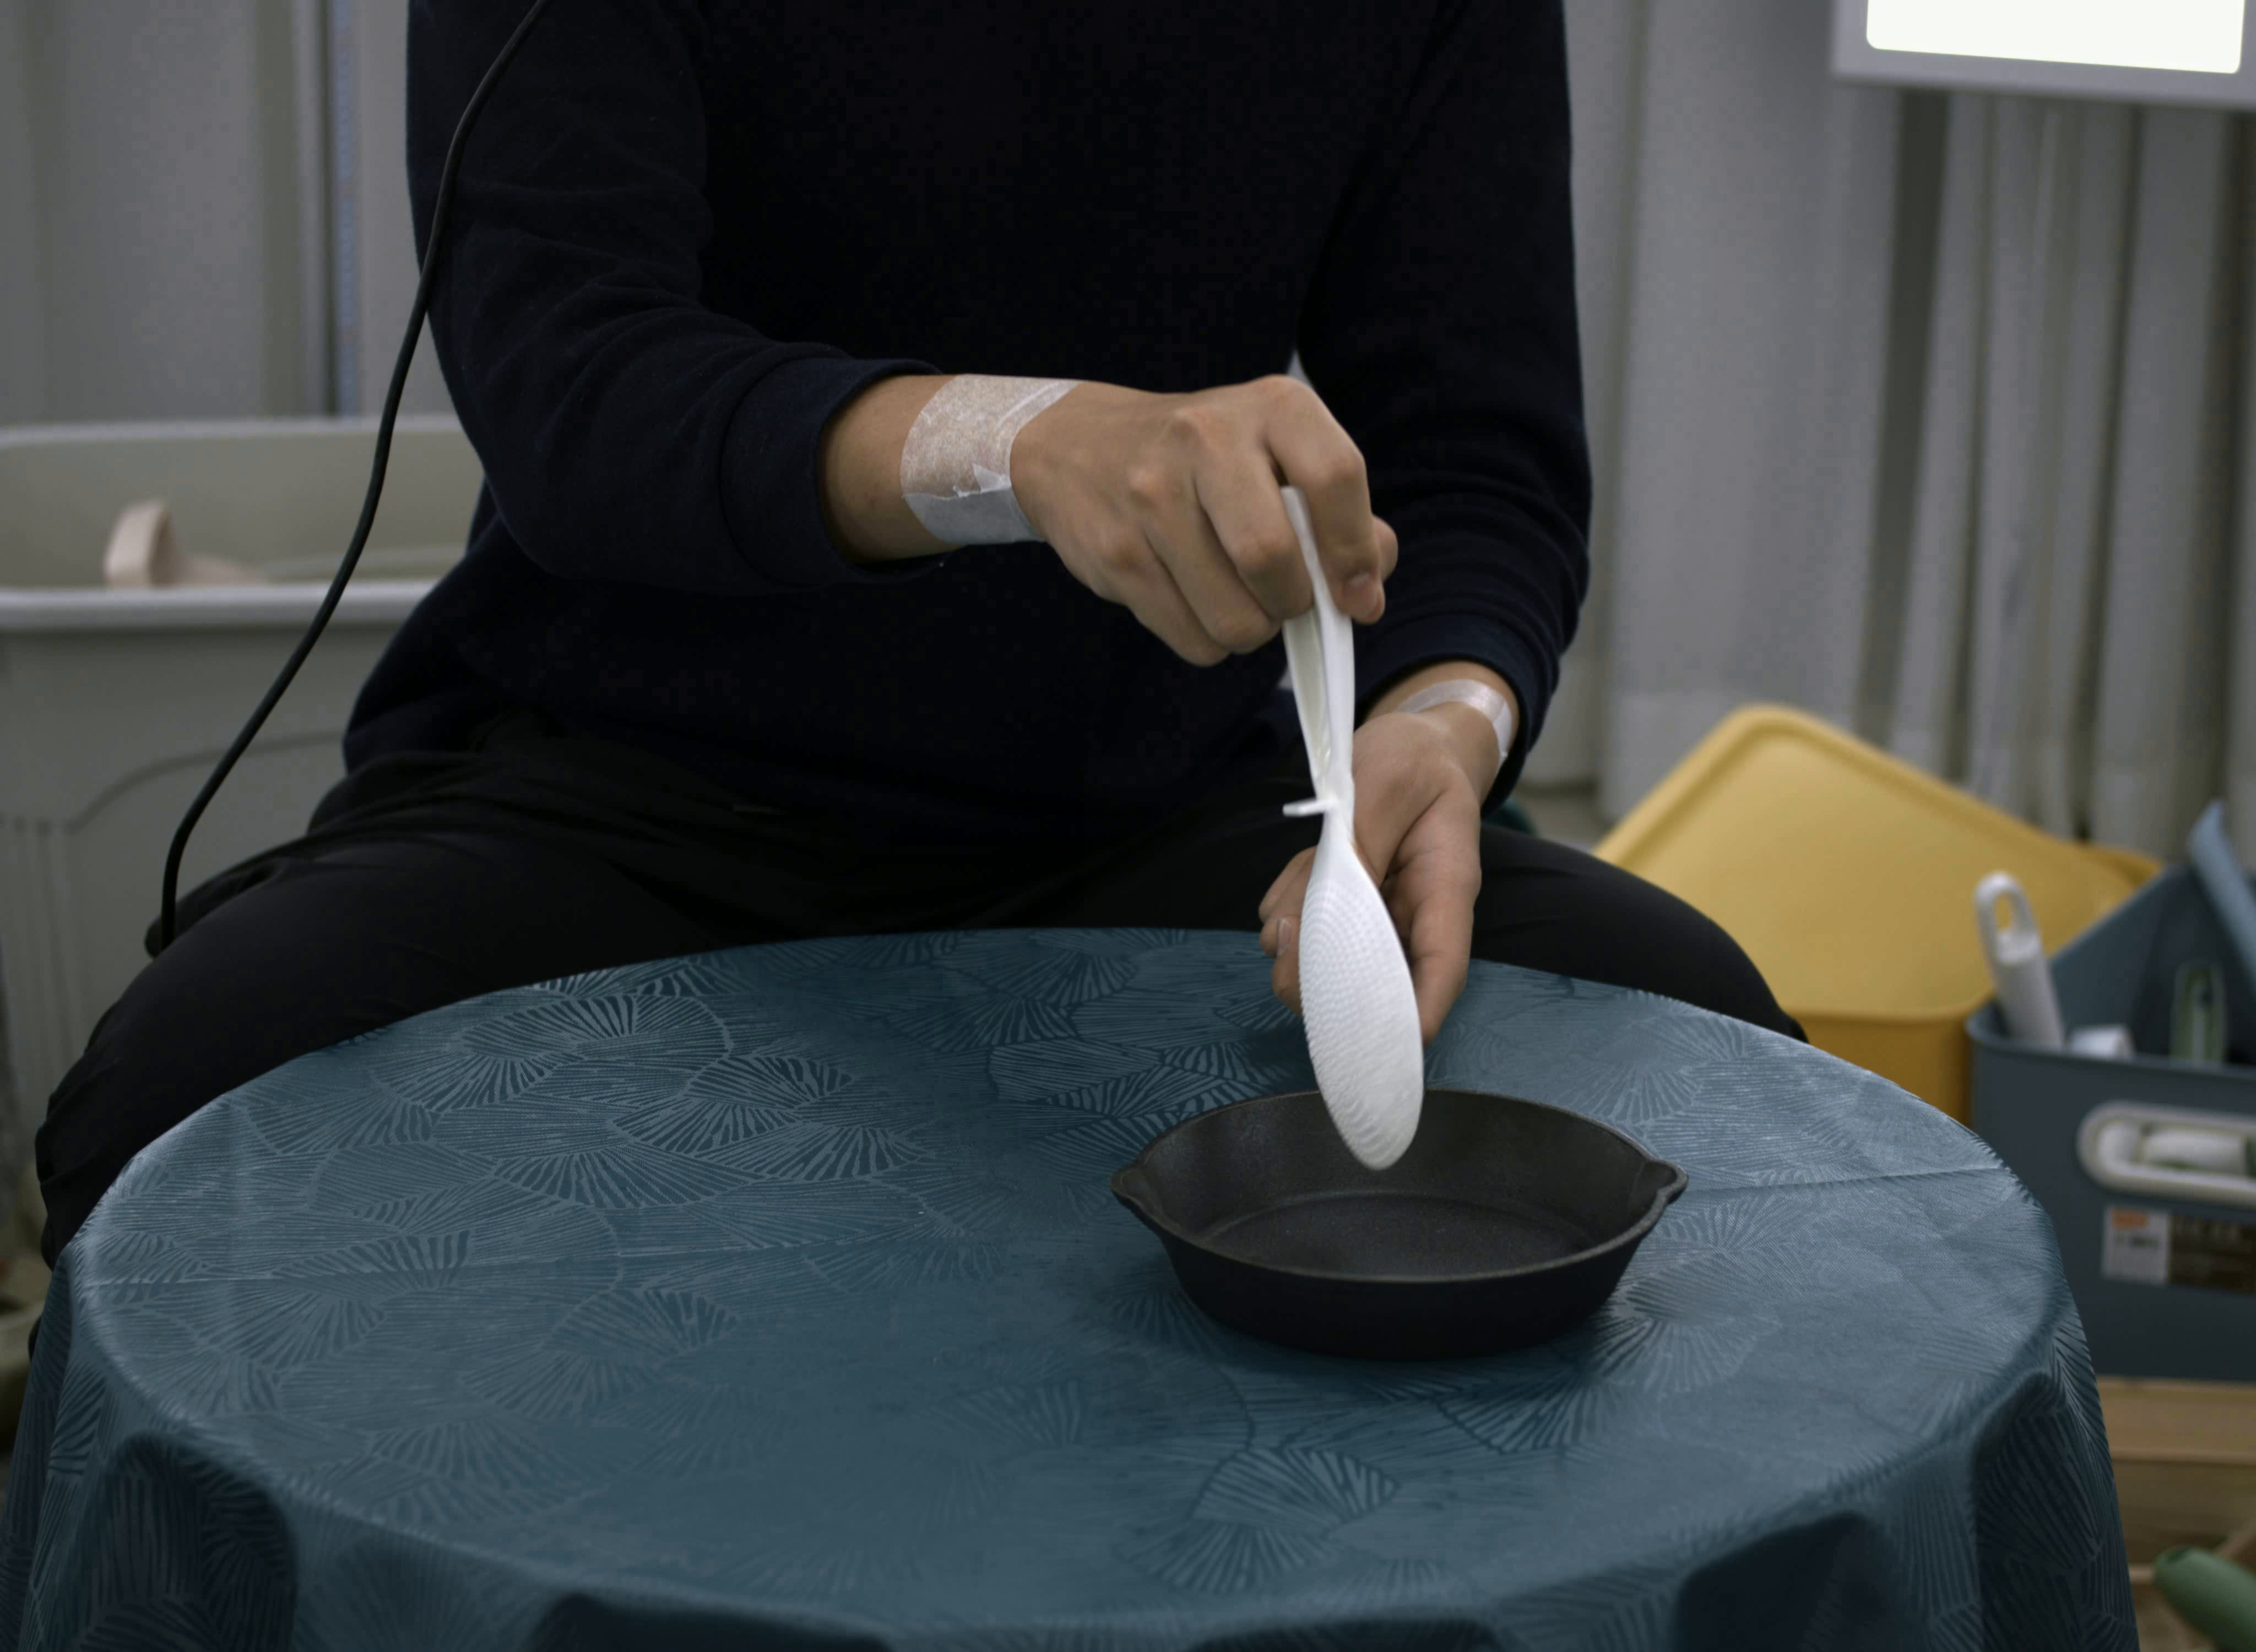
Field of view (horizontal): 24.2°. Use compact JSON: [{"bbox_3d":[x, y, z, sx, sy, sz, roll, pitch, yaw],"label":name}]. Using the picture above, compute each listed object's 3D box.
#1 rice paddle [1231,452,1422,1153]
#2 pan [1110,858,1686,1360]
[{"bbox_3d":[0.061,-0.005,1.539,0.029,0.206,0.068,-12,7,-23],"label":"rice paddle"},{"bbox_3d":[0.079,0.083,1.618,0.168,0.050,0.322,0,19,0],"label":"pan"}]
